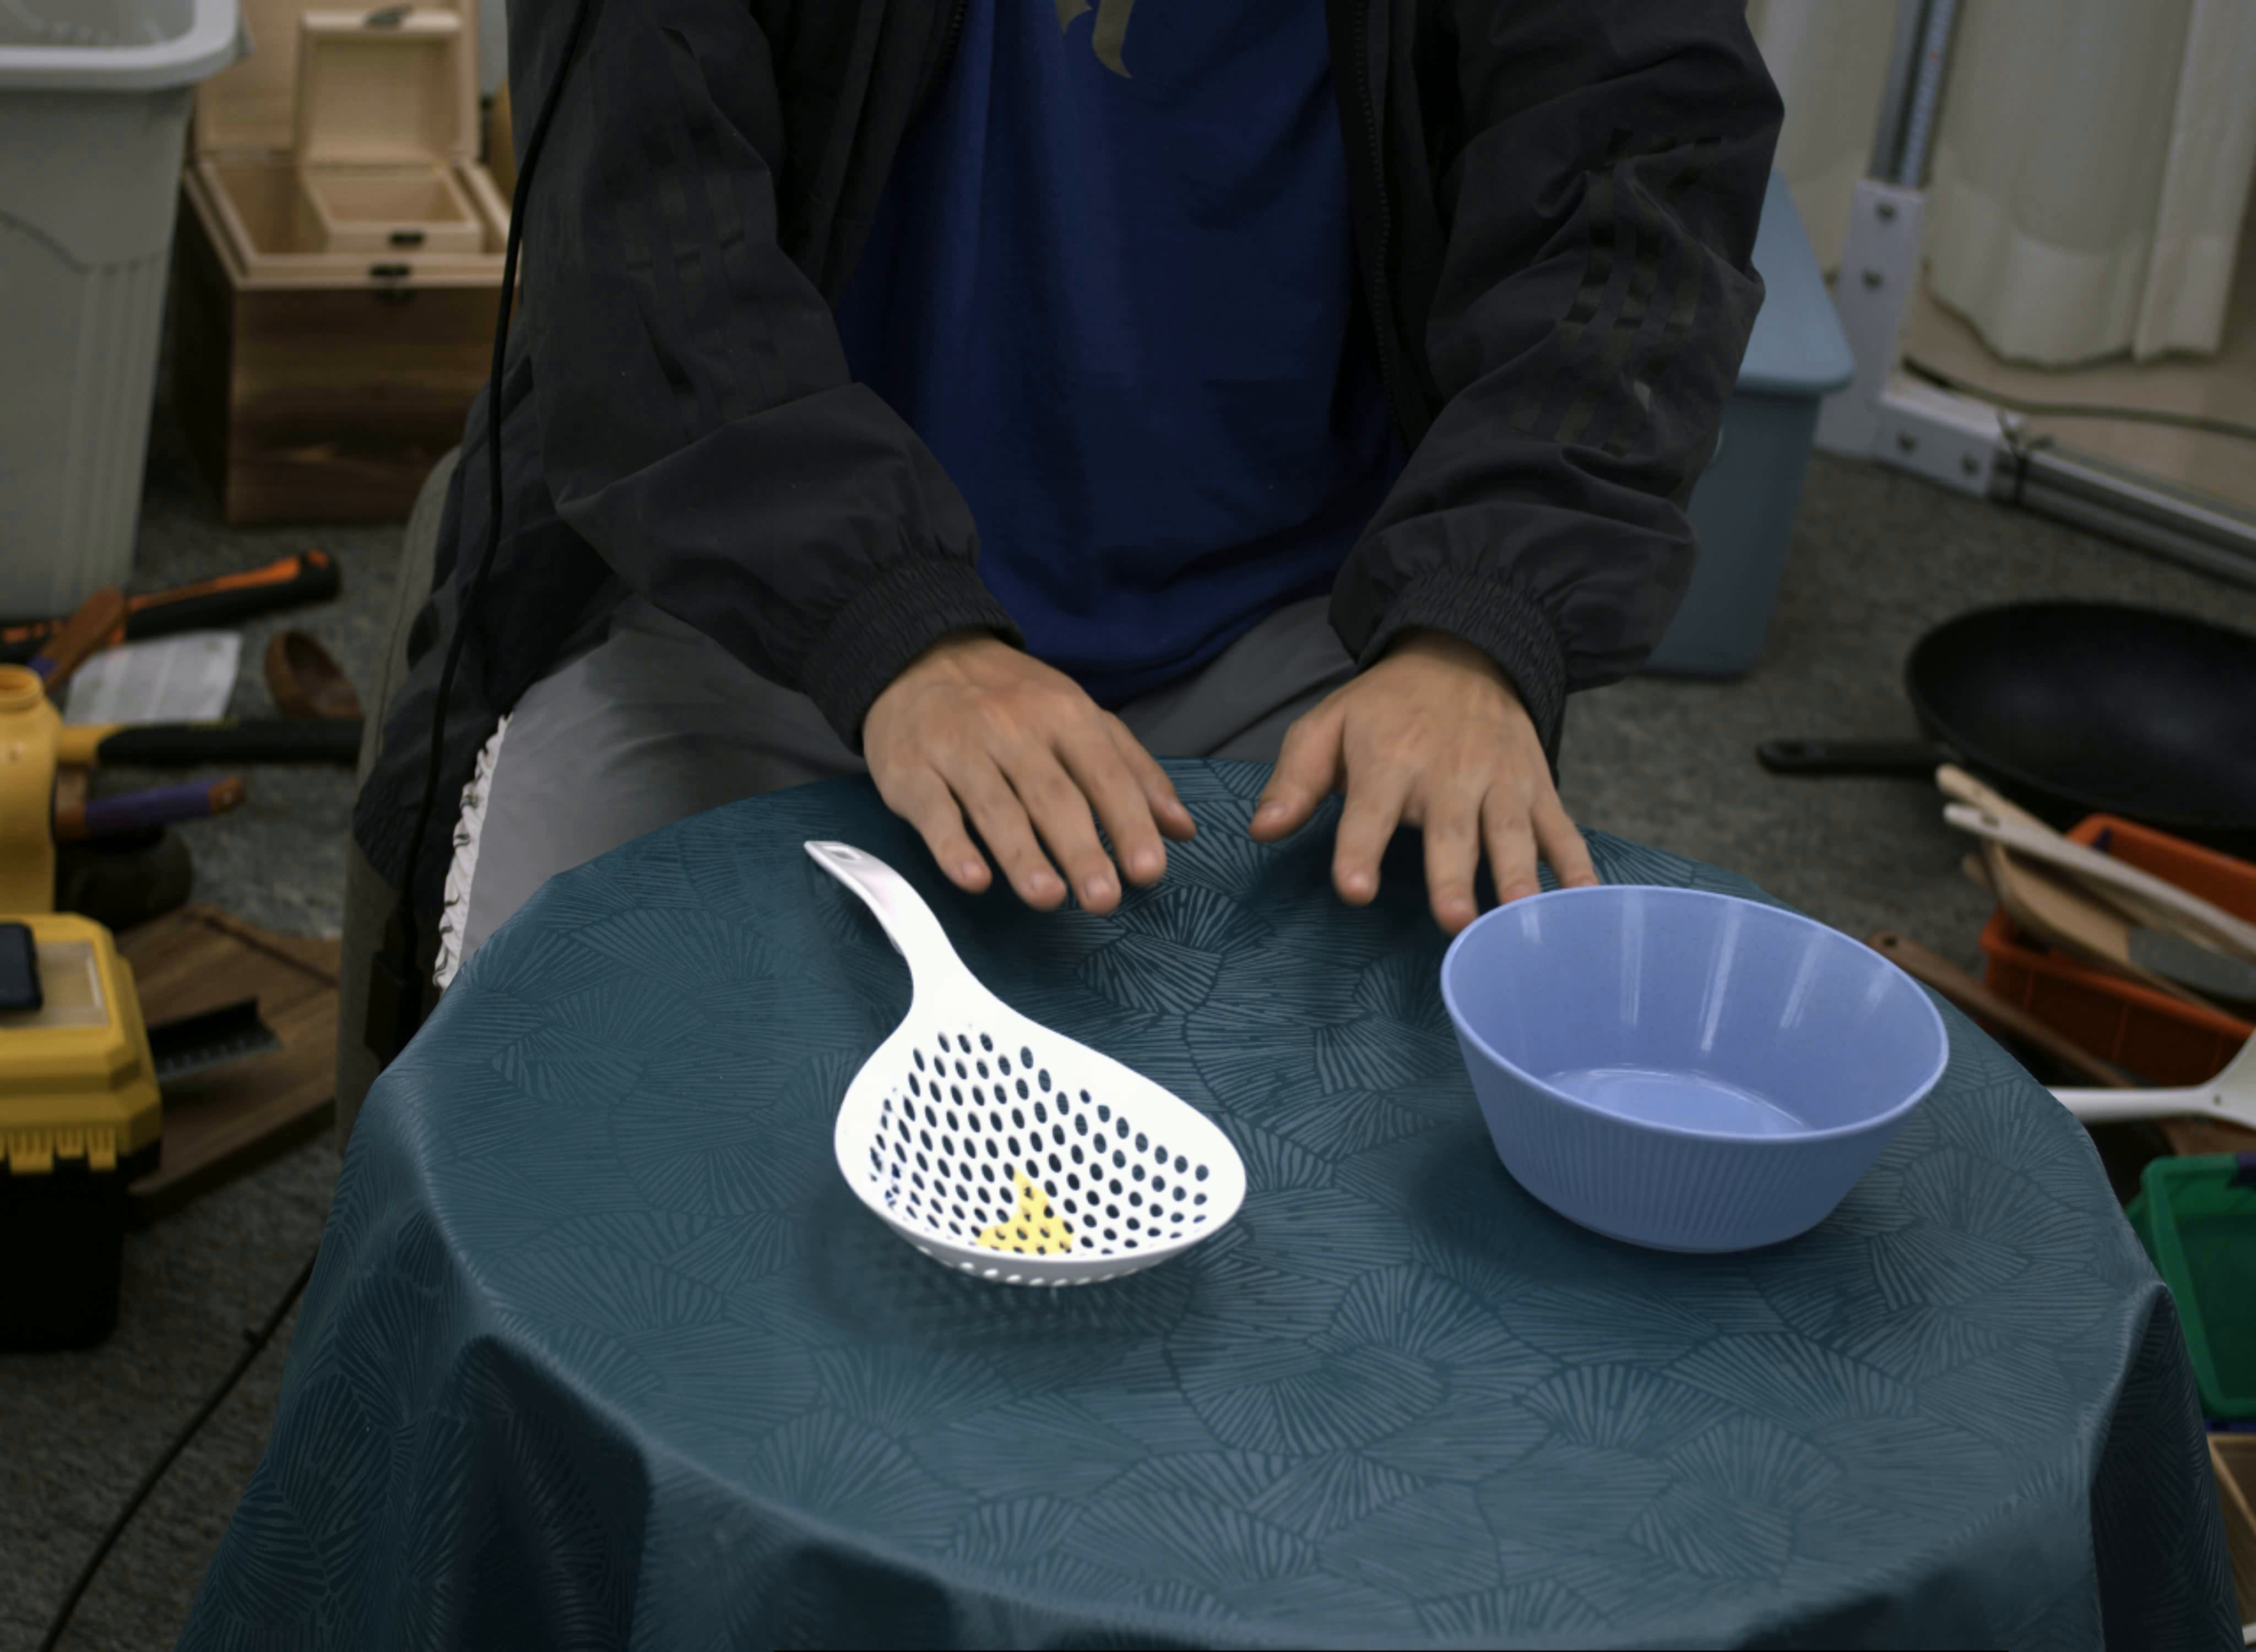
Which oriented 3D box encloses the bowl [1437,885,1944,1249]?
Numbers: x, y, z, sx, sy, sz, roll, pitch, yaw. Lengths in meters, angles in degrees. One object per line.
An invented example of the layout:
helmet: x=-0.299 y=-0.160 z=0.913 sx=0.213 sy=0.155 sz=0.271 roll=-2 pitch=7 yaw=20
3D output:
bowl: x=0.189 y=0.089 z=1.837 sx=0.175 sy=0.070 sz=0.177 roll=6 pitch=26 yaw=-3

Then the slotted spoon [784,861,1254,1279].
slotted spoon: x=-0.062 y=0.072 z=1.845 sx=0.136 sy=0.050 sz=0.351 roll=-6 pitch=29 yaw=-17
